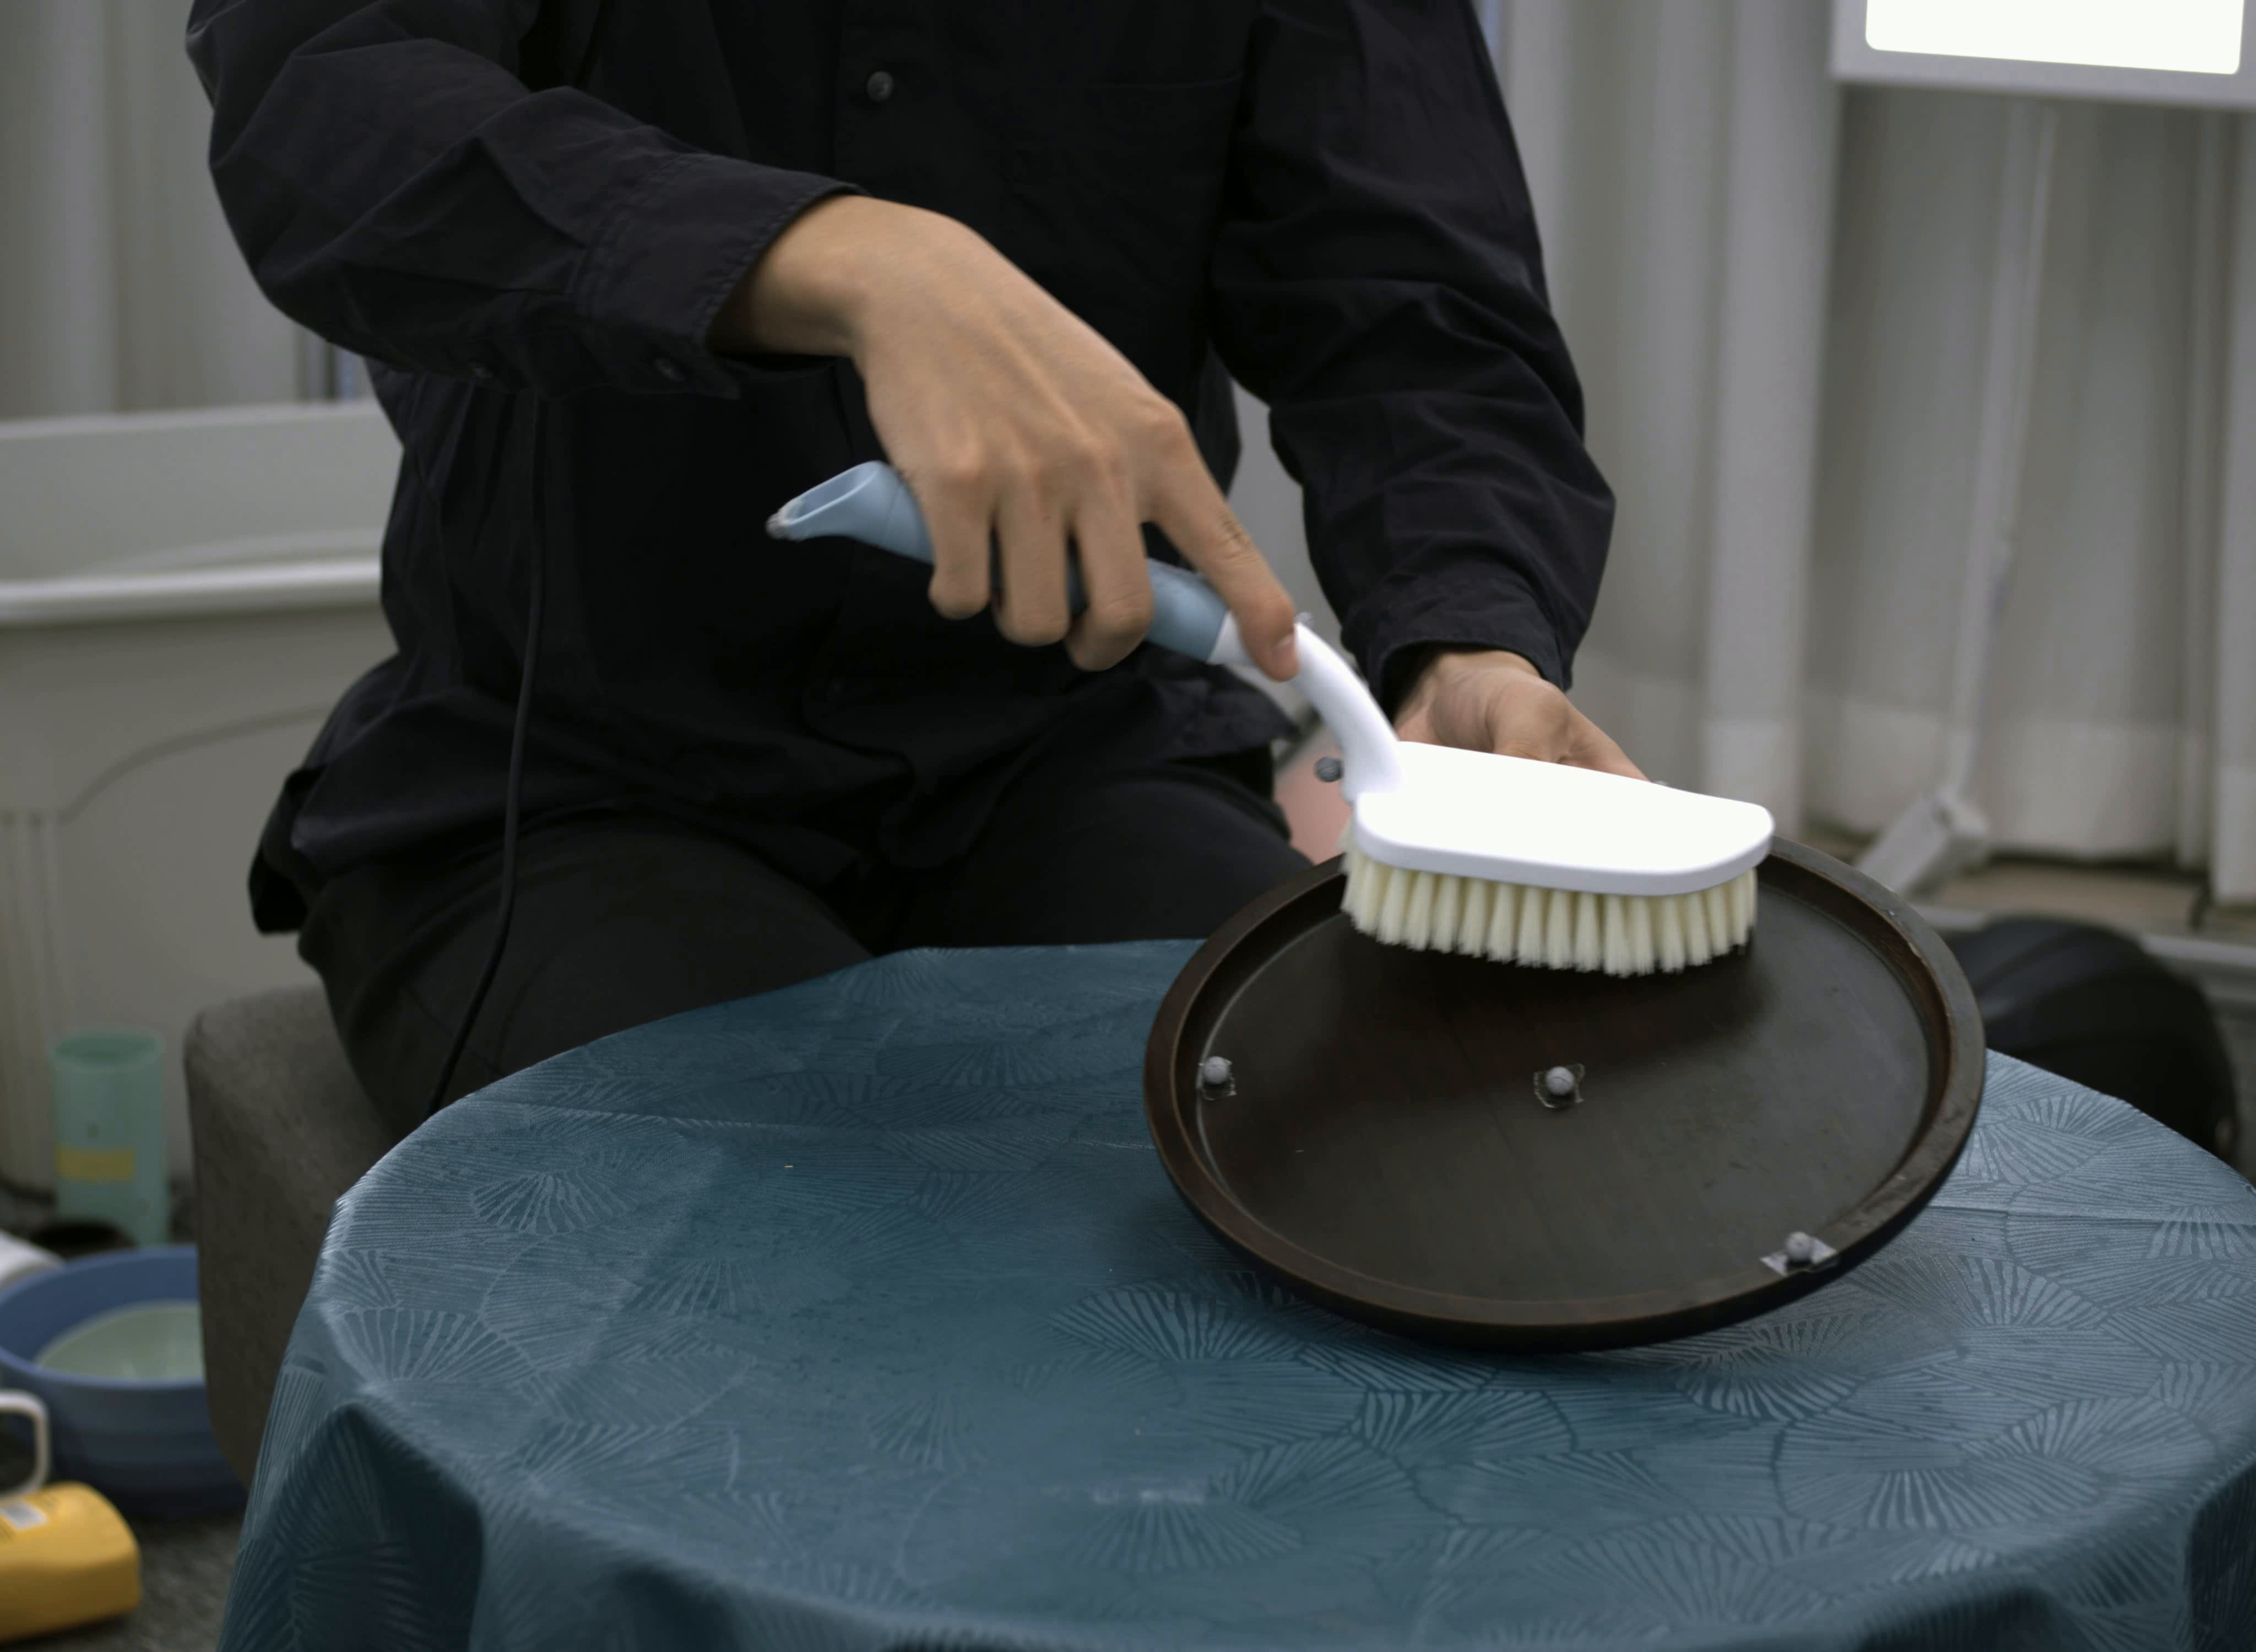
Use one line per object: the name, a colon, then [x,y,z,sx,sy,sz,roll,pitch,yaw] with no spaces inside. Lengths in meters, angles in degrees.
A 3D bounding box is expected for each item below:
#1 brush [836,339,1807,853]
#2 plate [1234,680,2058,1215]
brush: [0.054,-0.059,1.646,0.325,0.084,0.083,20,-9,-7]
plate: [0.159,0.035,1.620,0.253,0.029,0.252,-5,36,4]
